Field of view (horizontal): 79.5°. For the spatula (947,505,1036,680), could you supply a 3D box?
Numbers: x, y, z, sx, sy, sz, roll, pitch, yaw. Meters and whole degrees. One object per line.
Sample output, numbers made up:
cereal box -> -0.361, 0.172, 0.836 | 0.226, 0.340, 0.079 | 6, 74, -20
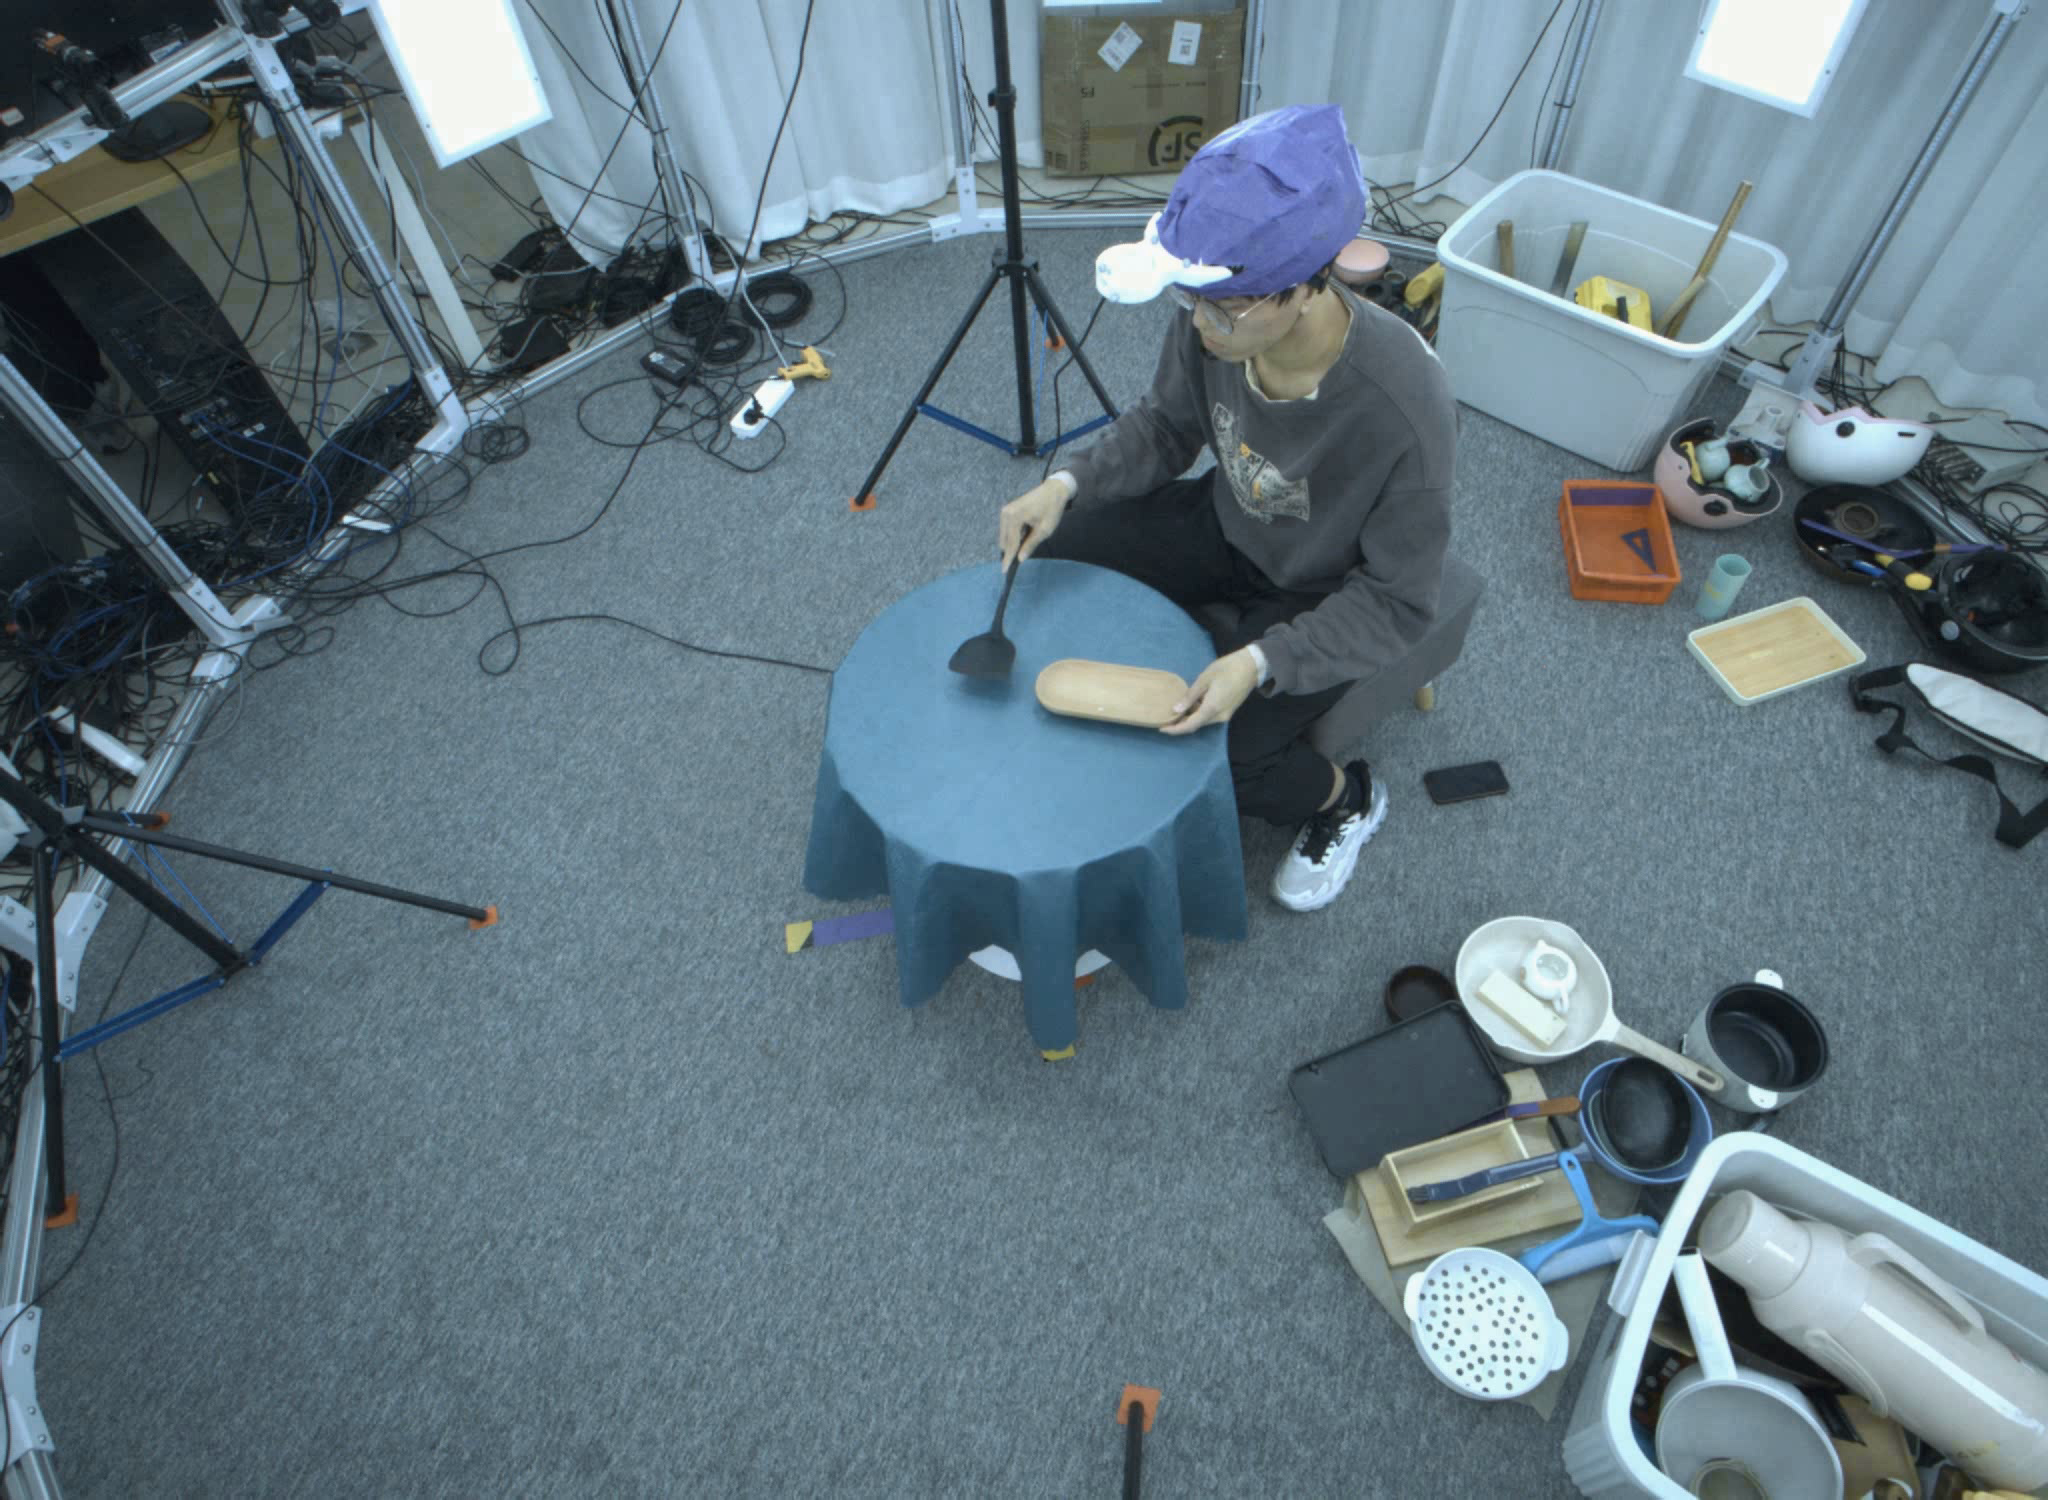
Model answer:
spatula -> -0.030, -0.248, 1.887 | 0.099, 0.041, 0.325 | 11, 71, 11

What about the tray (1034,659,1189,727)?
tray -> 0.127, -0.084, 1.809 | 0.229, 0.020, 0.101 | 8, 53, 13
